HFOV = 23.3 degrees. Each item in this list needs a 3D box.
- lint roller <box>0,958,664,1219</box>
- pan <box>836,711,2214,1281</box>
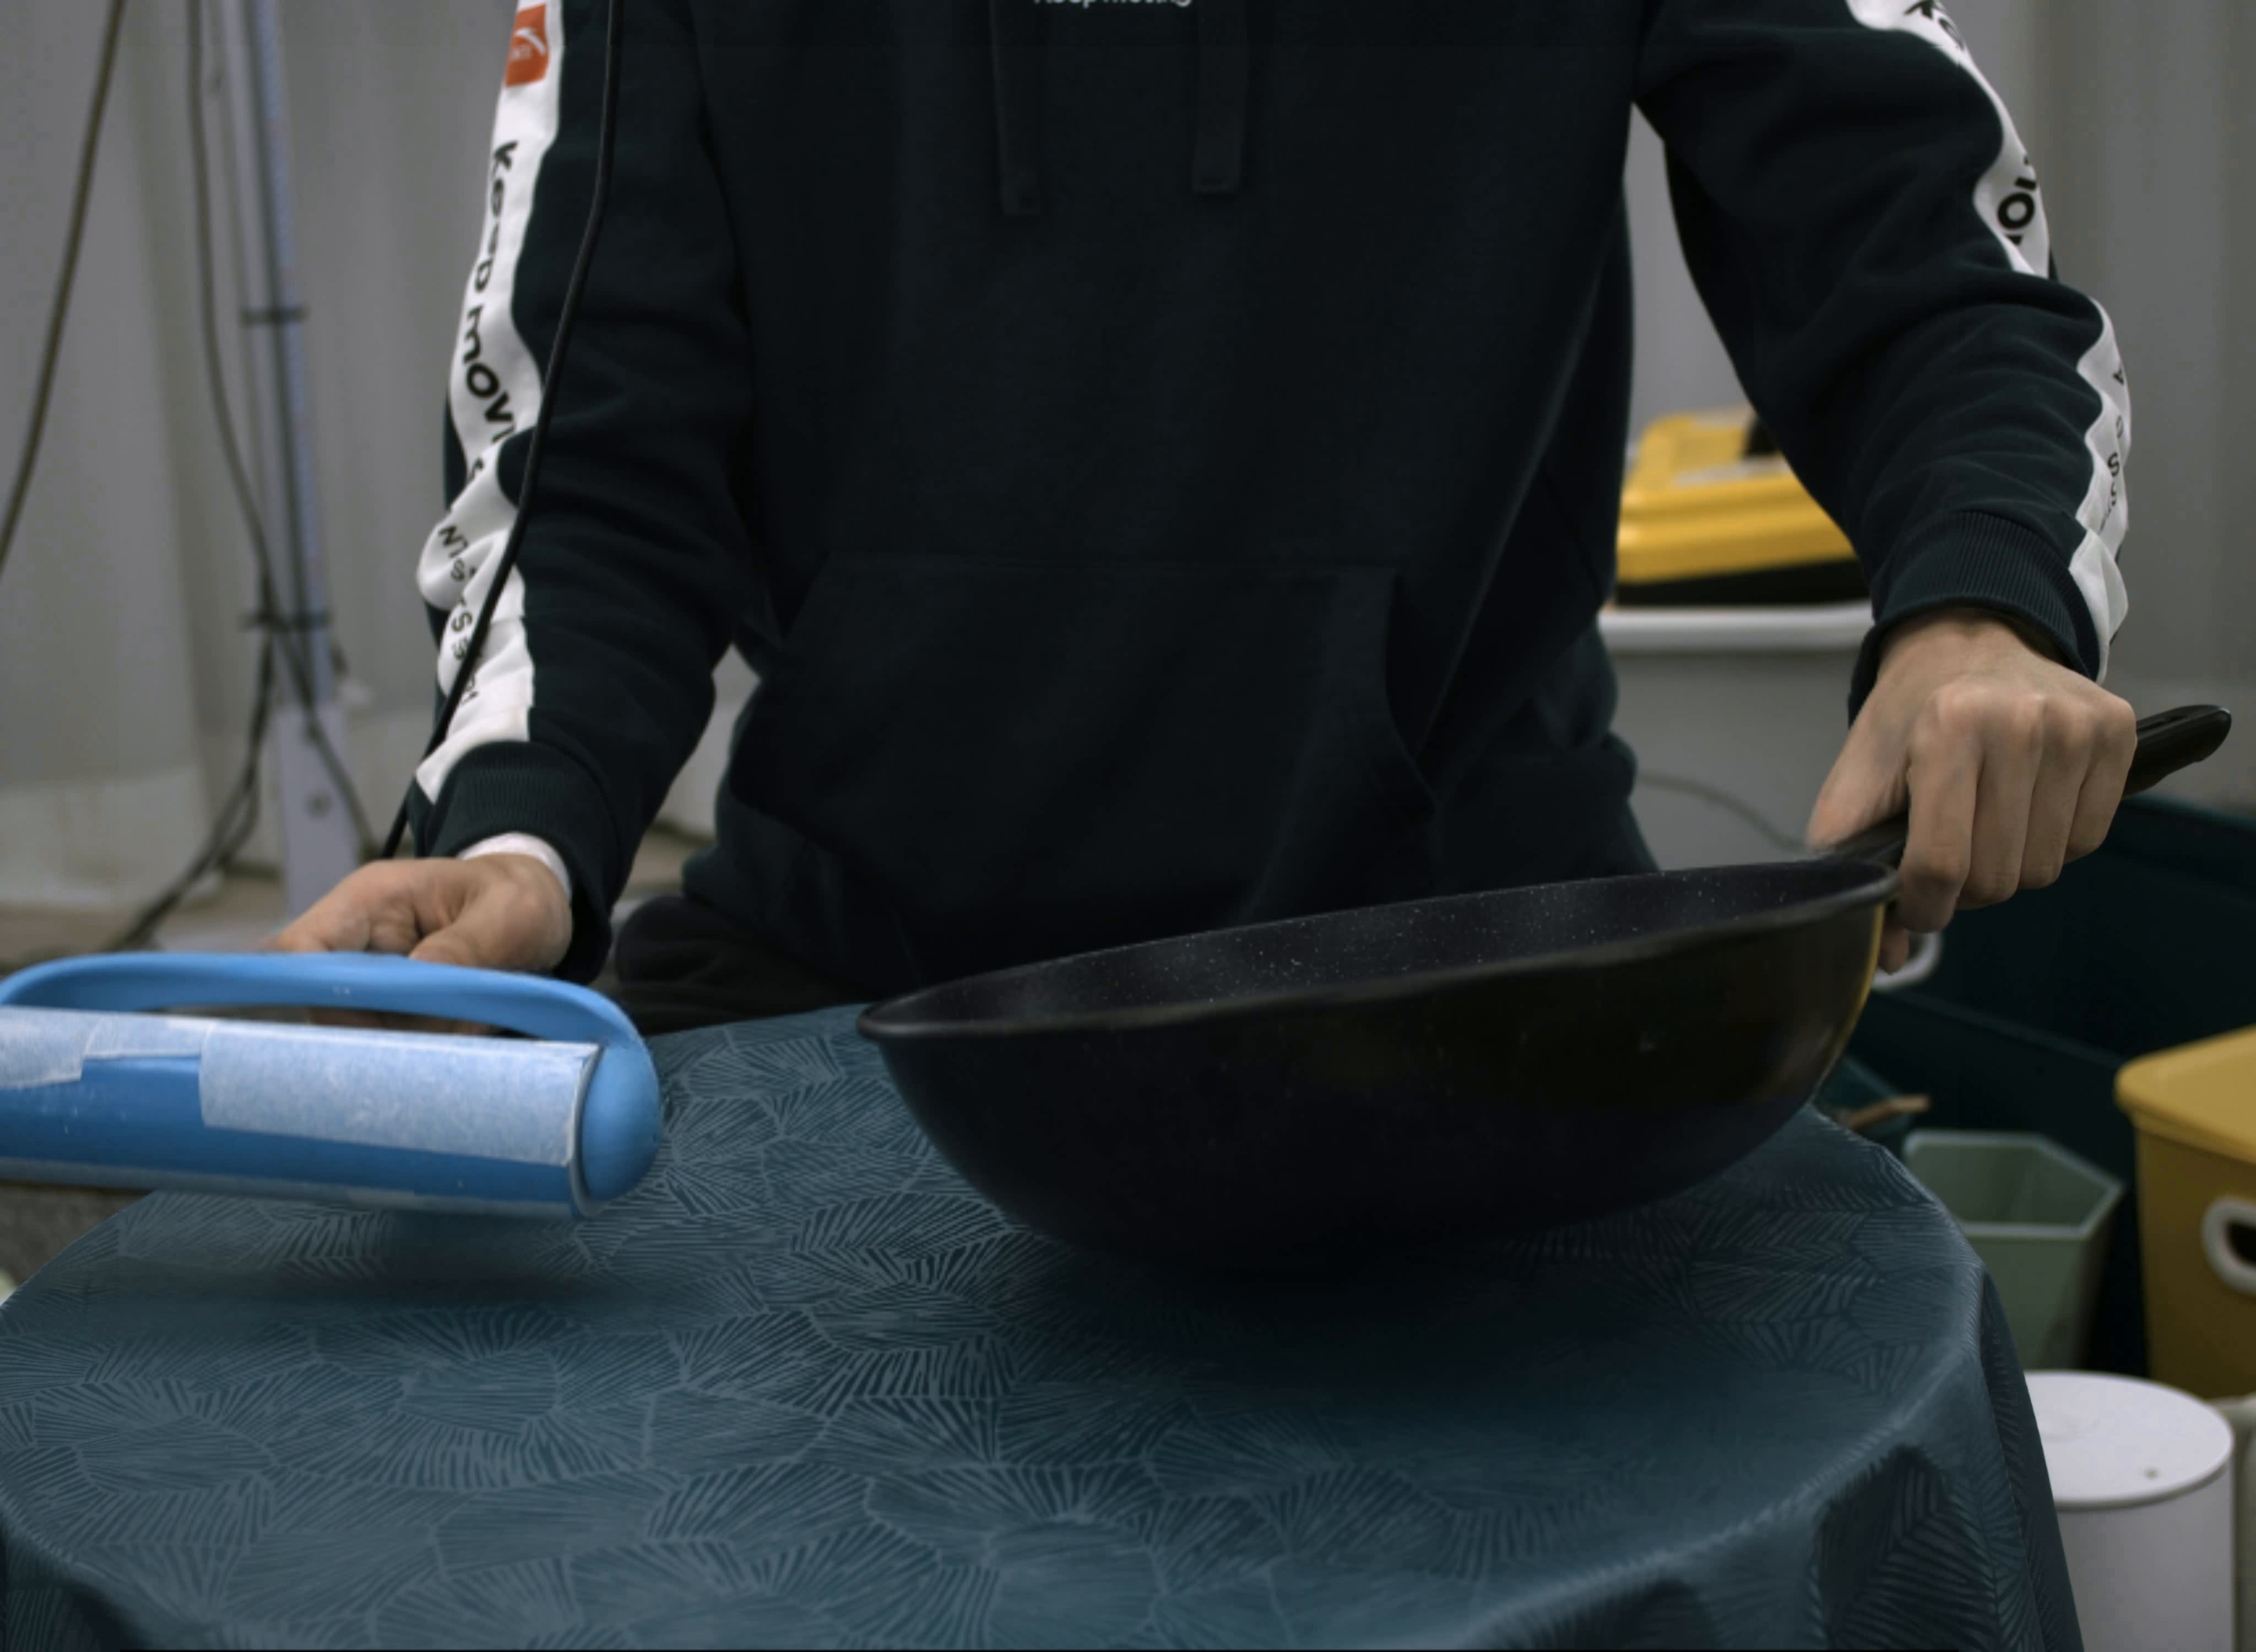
[{"bbox_3d":[-0.244,0.072,1.710,0.228,0.068,0.181,1,13,8],"label":"lint roller"},{"bbox_3d":[0.143,0.053,1.636,0.475,0.112,0.311,-10,4,-29],"label":"pan"}]
